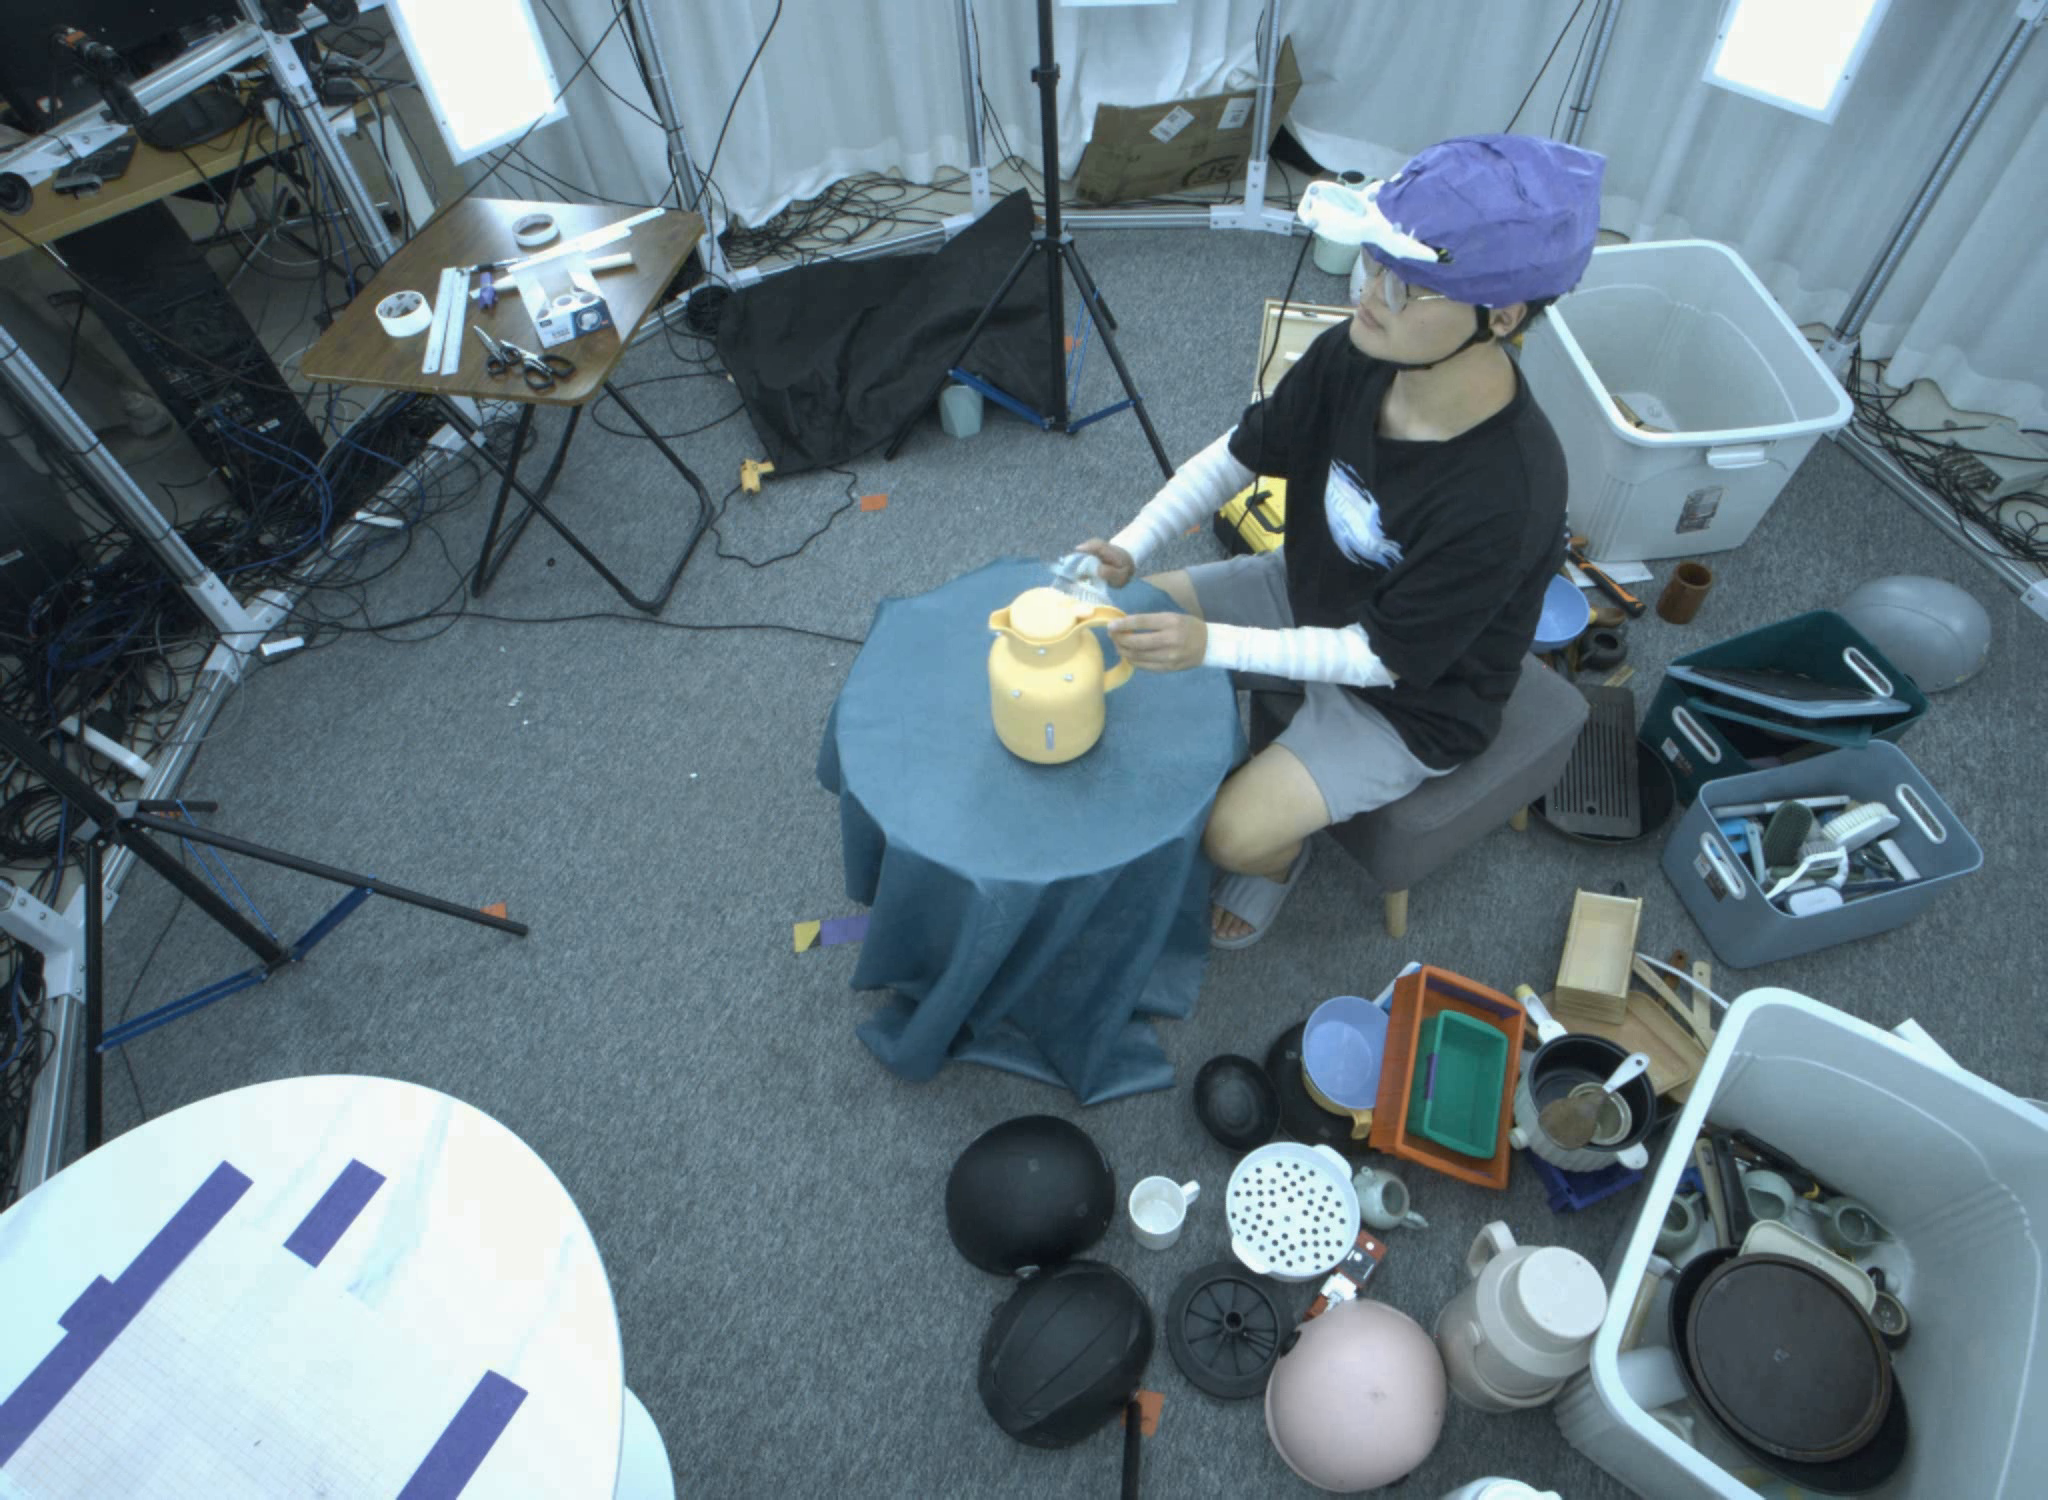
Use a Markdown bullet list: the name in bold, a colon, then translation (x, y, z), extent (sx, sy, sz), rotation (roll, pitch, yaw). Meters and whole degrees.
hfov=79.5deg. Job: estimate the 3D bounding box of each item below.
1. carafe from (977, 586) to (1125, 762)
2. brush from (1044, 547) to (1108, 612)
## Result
- **carafe**: translation (0.039, -0.110, 1.695), extent (0.202, 0.263, 0.161), rotation (-4, 56, 2)
- **brush**: translation (0.067, -0.238, 1.716), extent (0.060, 0.178, 0.094), rotation (4, 85, 24)
